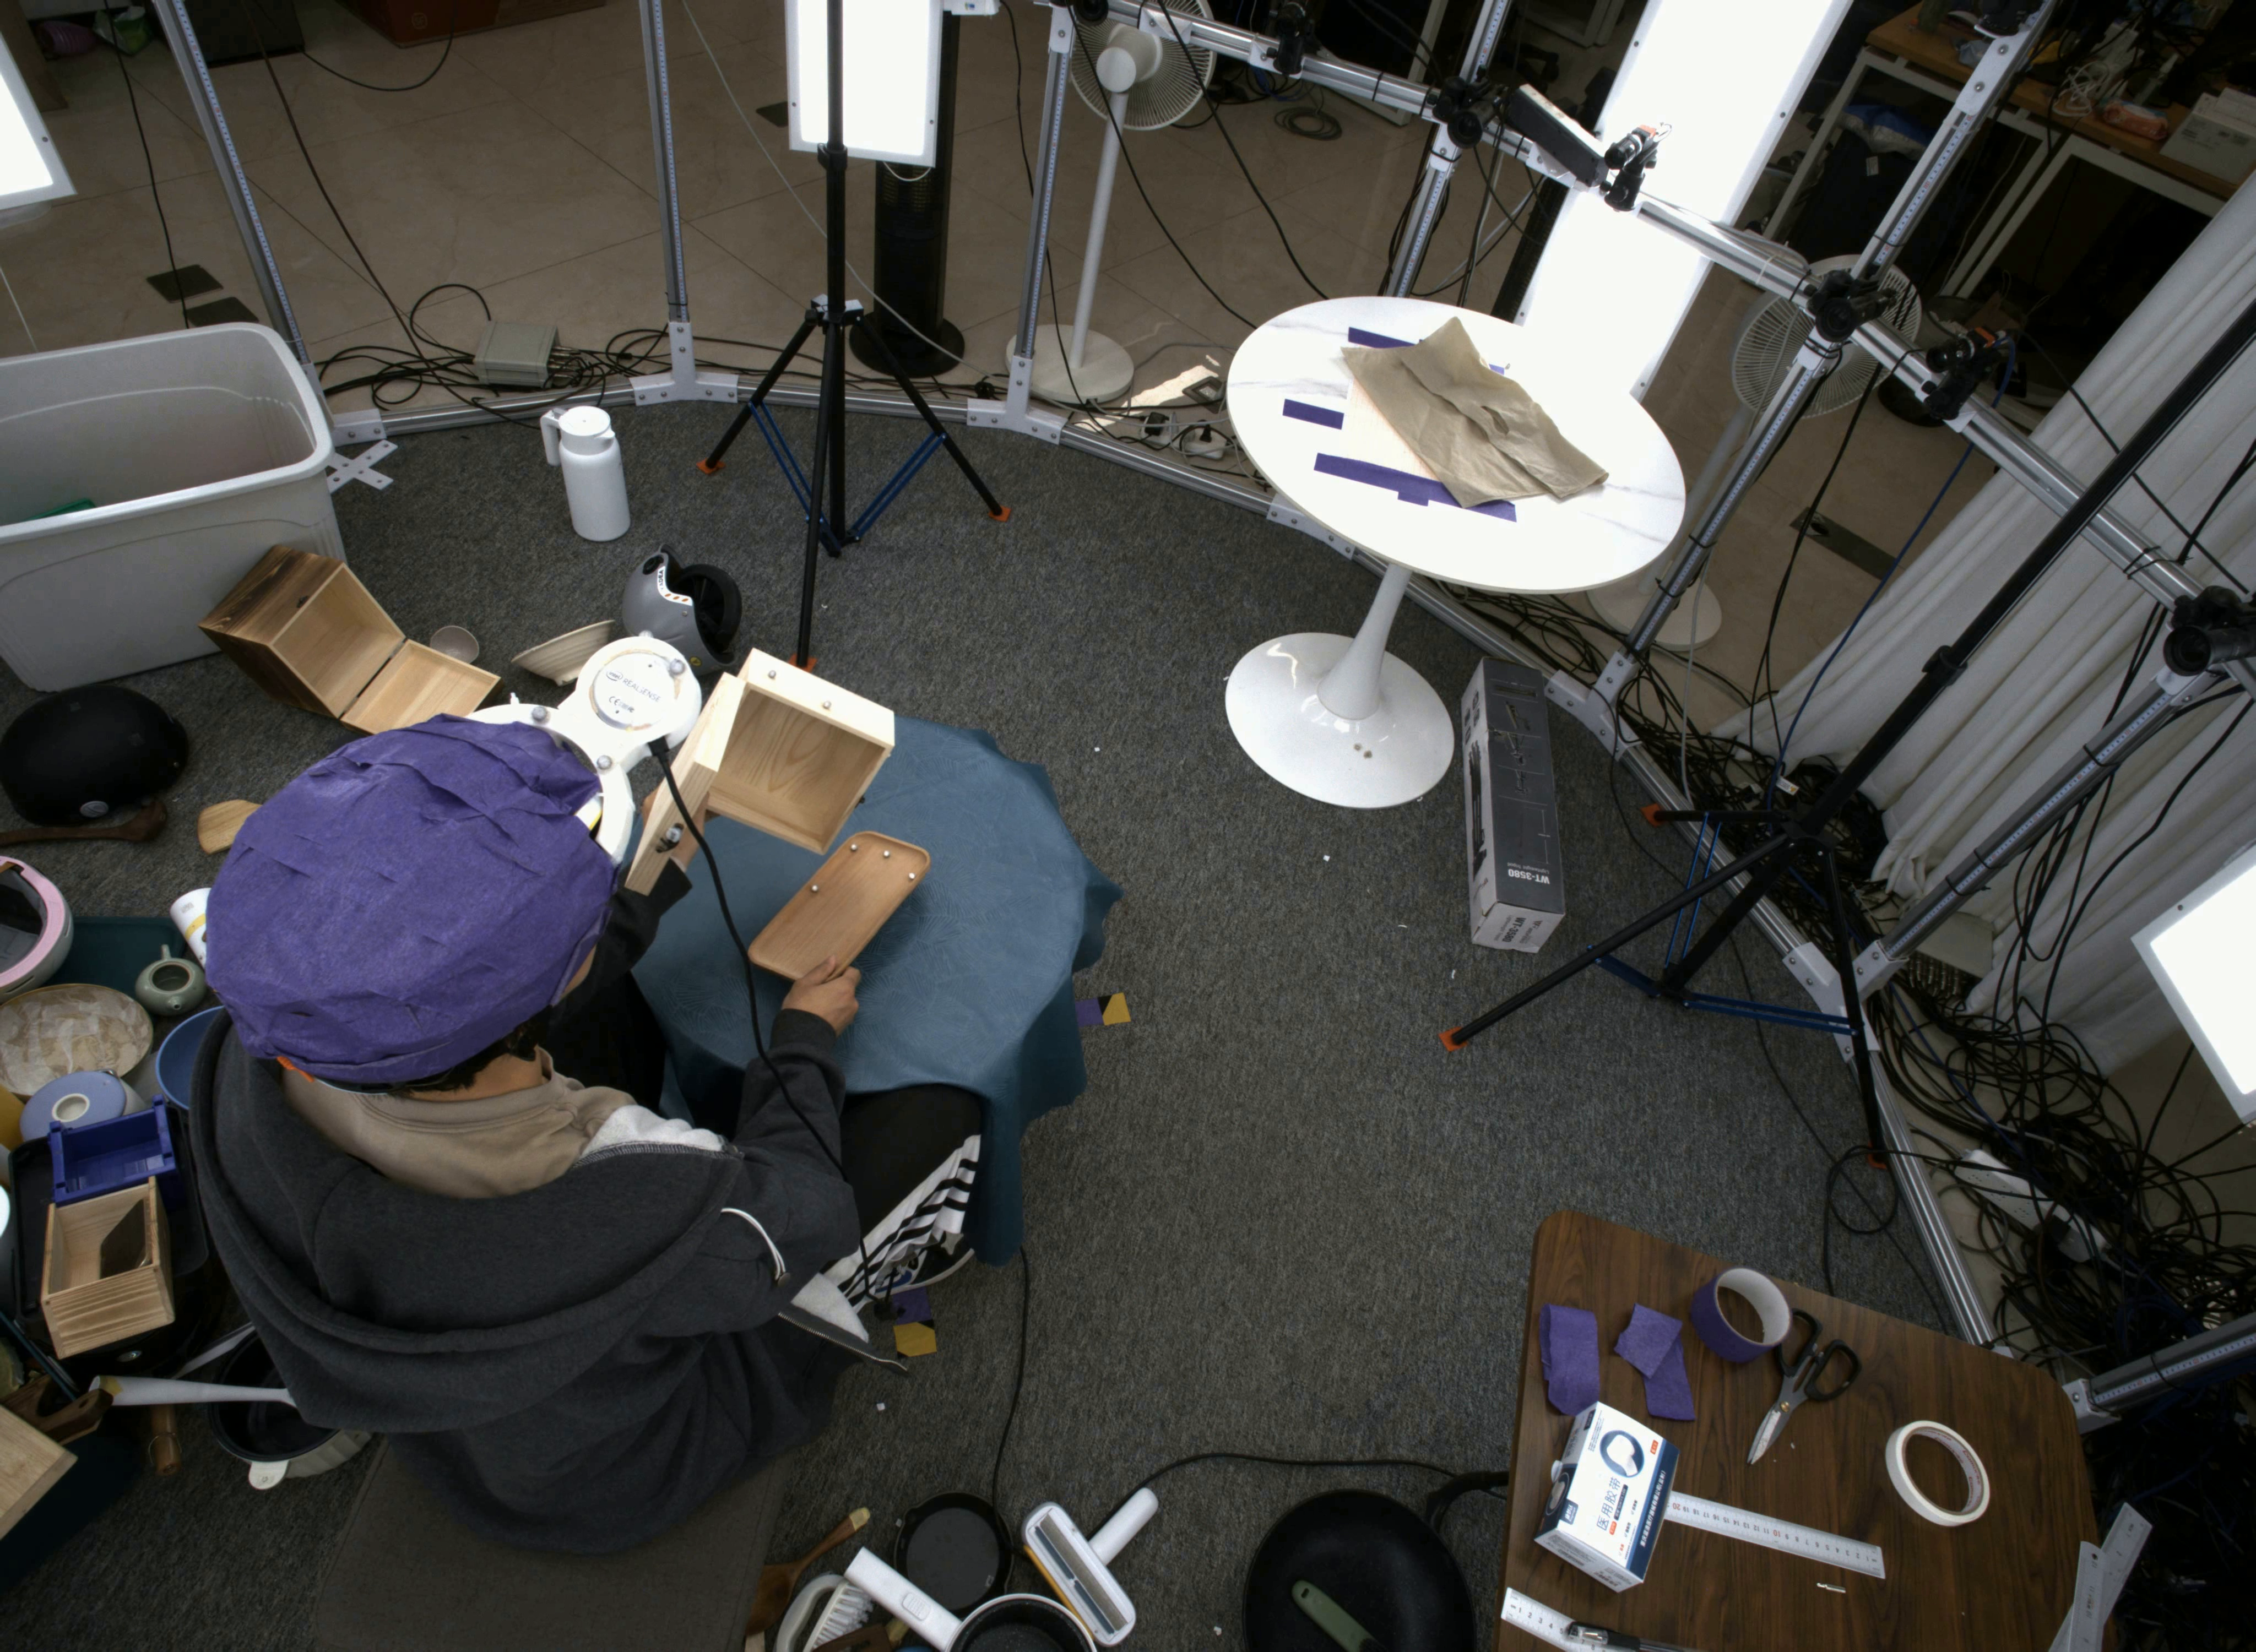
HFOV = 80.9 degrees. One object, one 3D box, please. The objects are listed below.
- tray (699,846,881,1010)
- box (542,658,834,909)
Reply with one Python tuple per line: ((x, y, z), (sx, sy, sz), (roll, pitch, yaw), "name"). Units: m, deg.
((-0.409, 0.119, 1.584), (0.127, 0.024, 0.249), (13, 47, 21), "tray")
((-0.470, -0.025, 1.391), (0.271, 0.183, 0.246), (21, 32, -28), "box")
